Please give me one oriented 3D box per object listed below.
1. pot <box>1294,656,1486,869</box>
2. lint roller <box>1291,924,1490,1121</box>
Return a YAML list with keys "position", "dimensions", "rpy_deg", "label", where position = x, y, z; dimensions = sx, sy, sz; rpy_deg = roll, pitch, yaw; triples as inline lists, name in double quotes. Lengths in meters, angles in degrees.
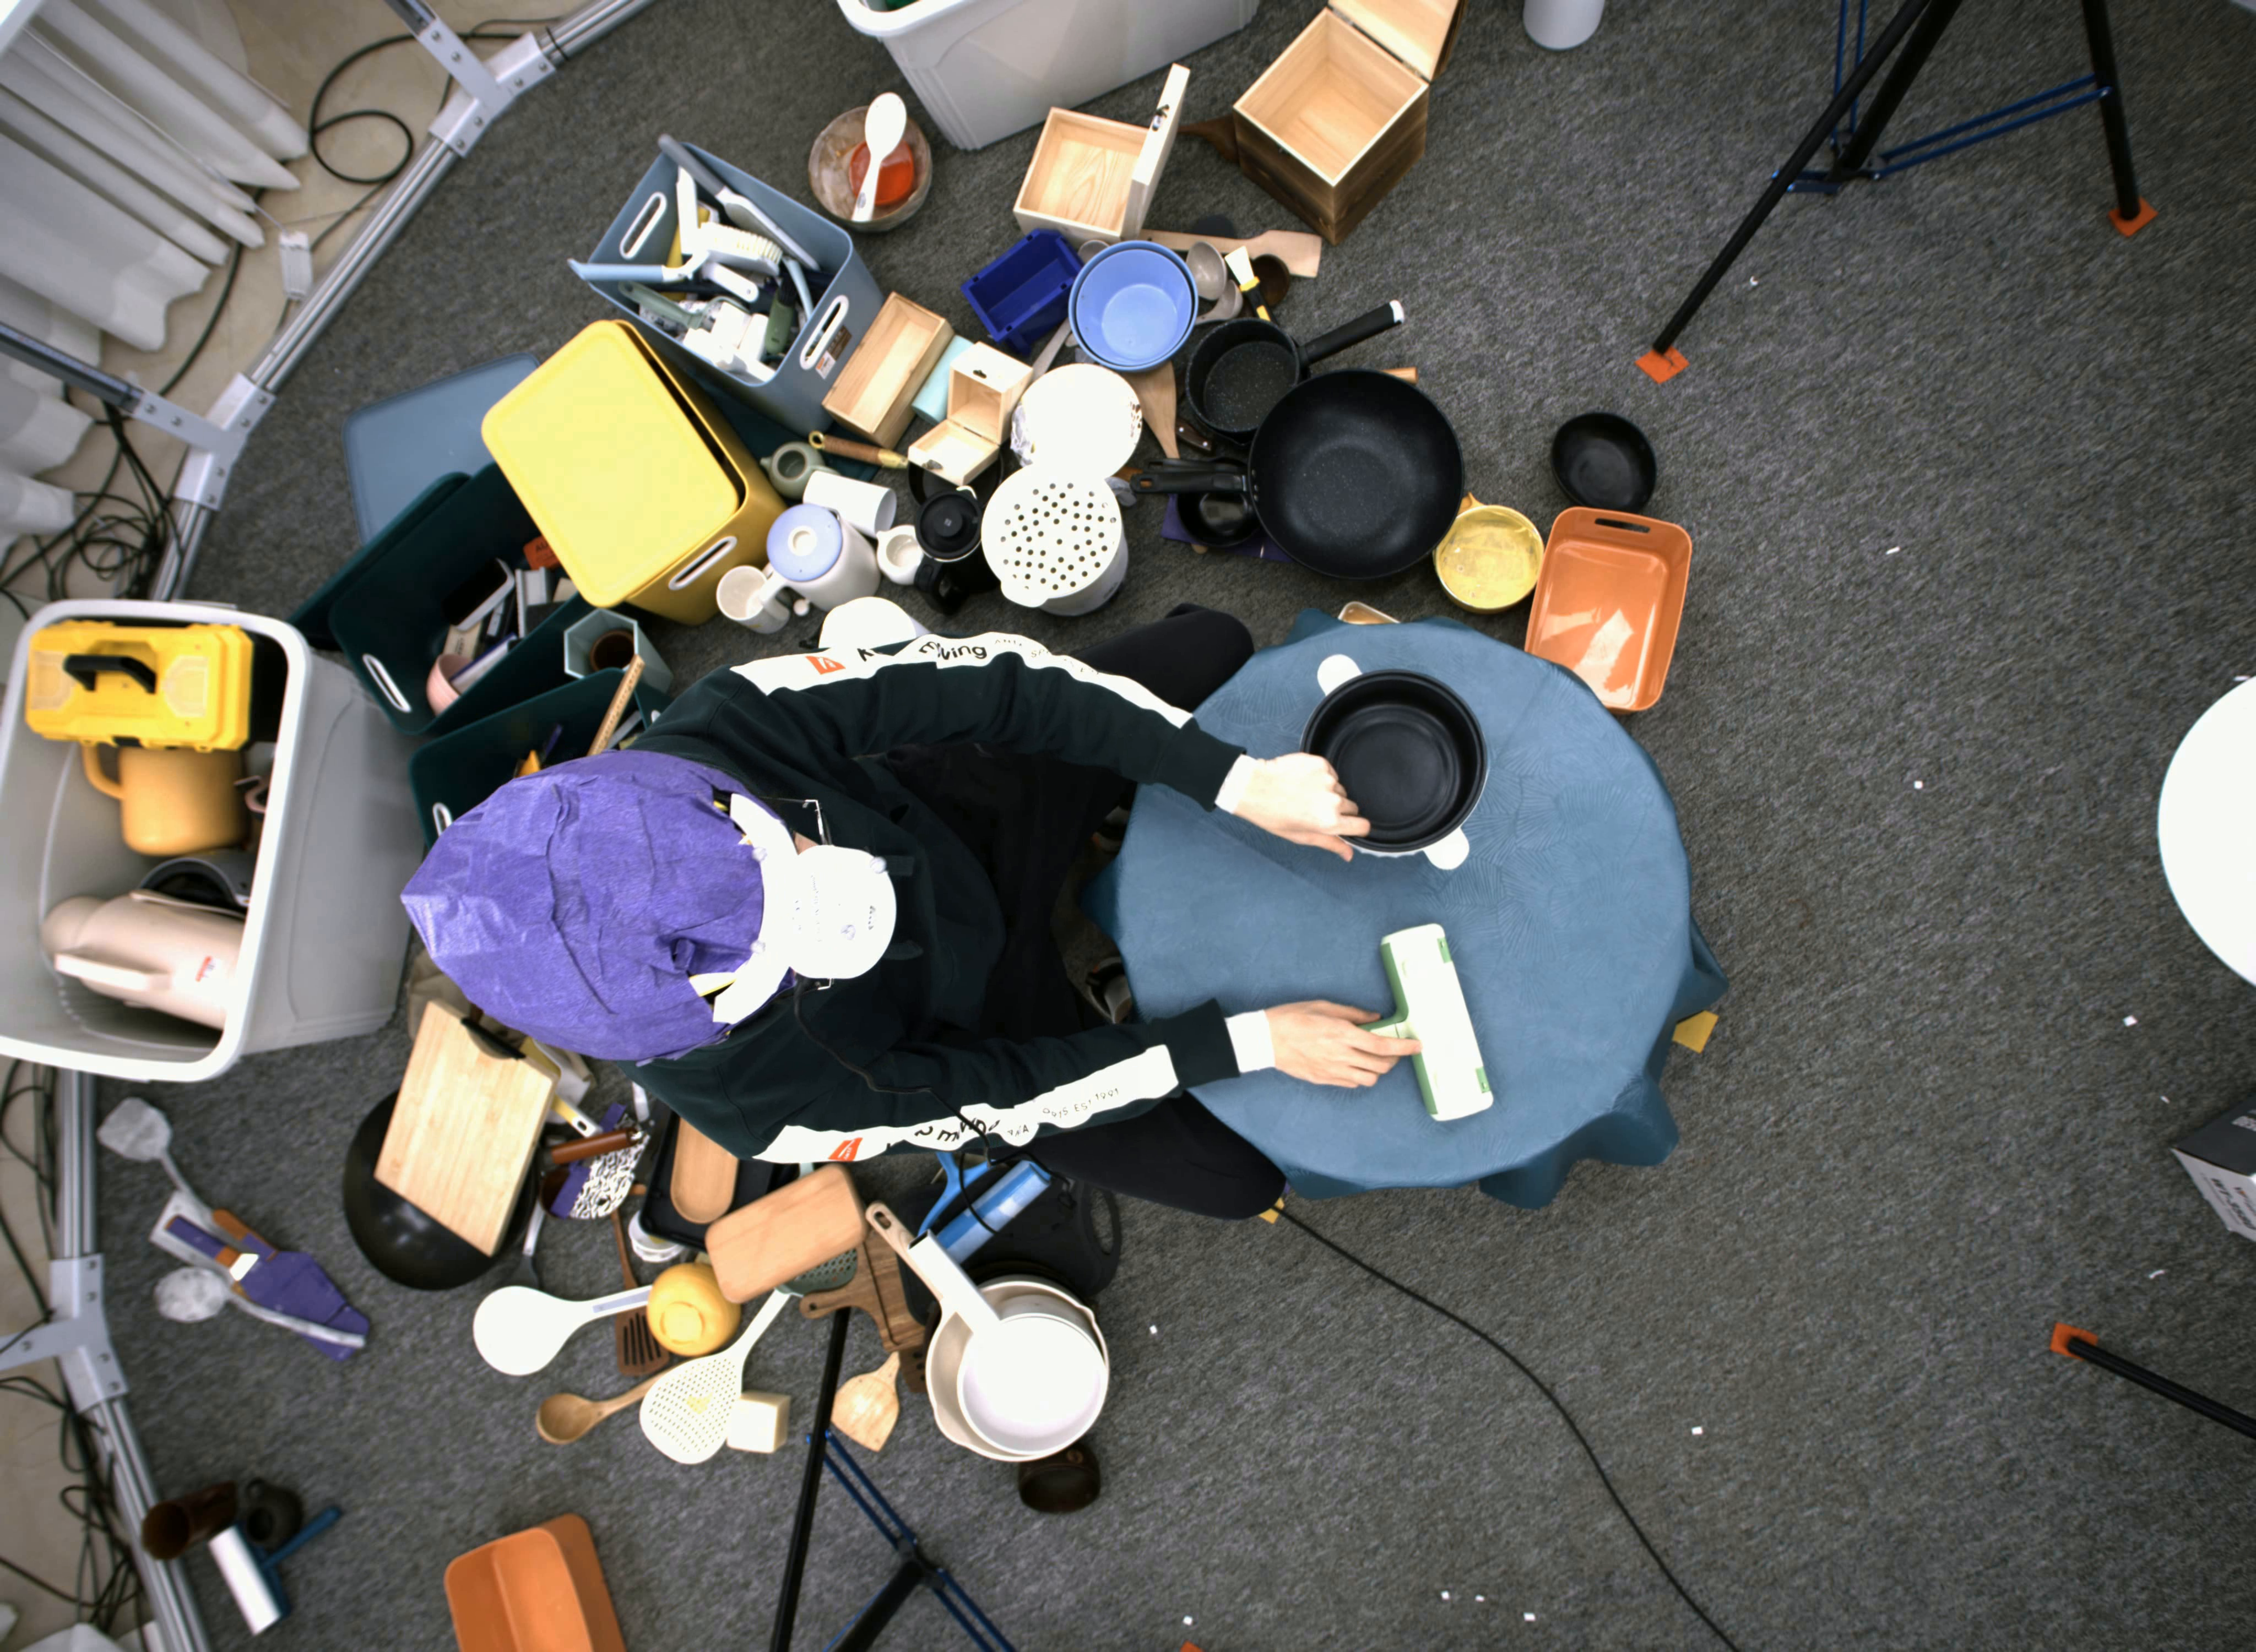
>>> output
- position: [0.269, -0.063, 1.393]
  dimensions: [0.192, 0.142, 0.239]
  rpy_deg: [-33, 83, 9]
  label: "pot"
- position: [0.257, 0.213, 1.412]
  dimensions: [0.184, 0.082, 0.197]
  rpy_deg: [-15, 85, 4]
  label: "lint roller"
